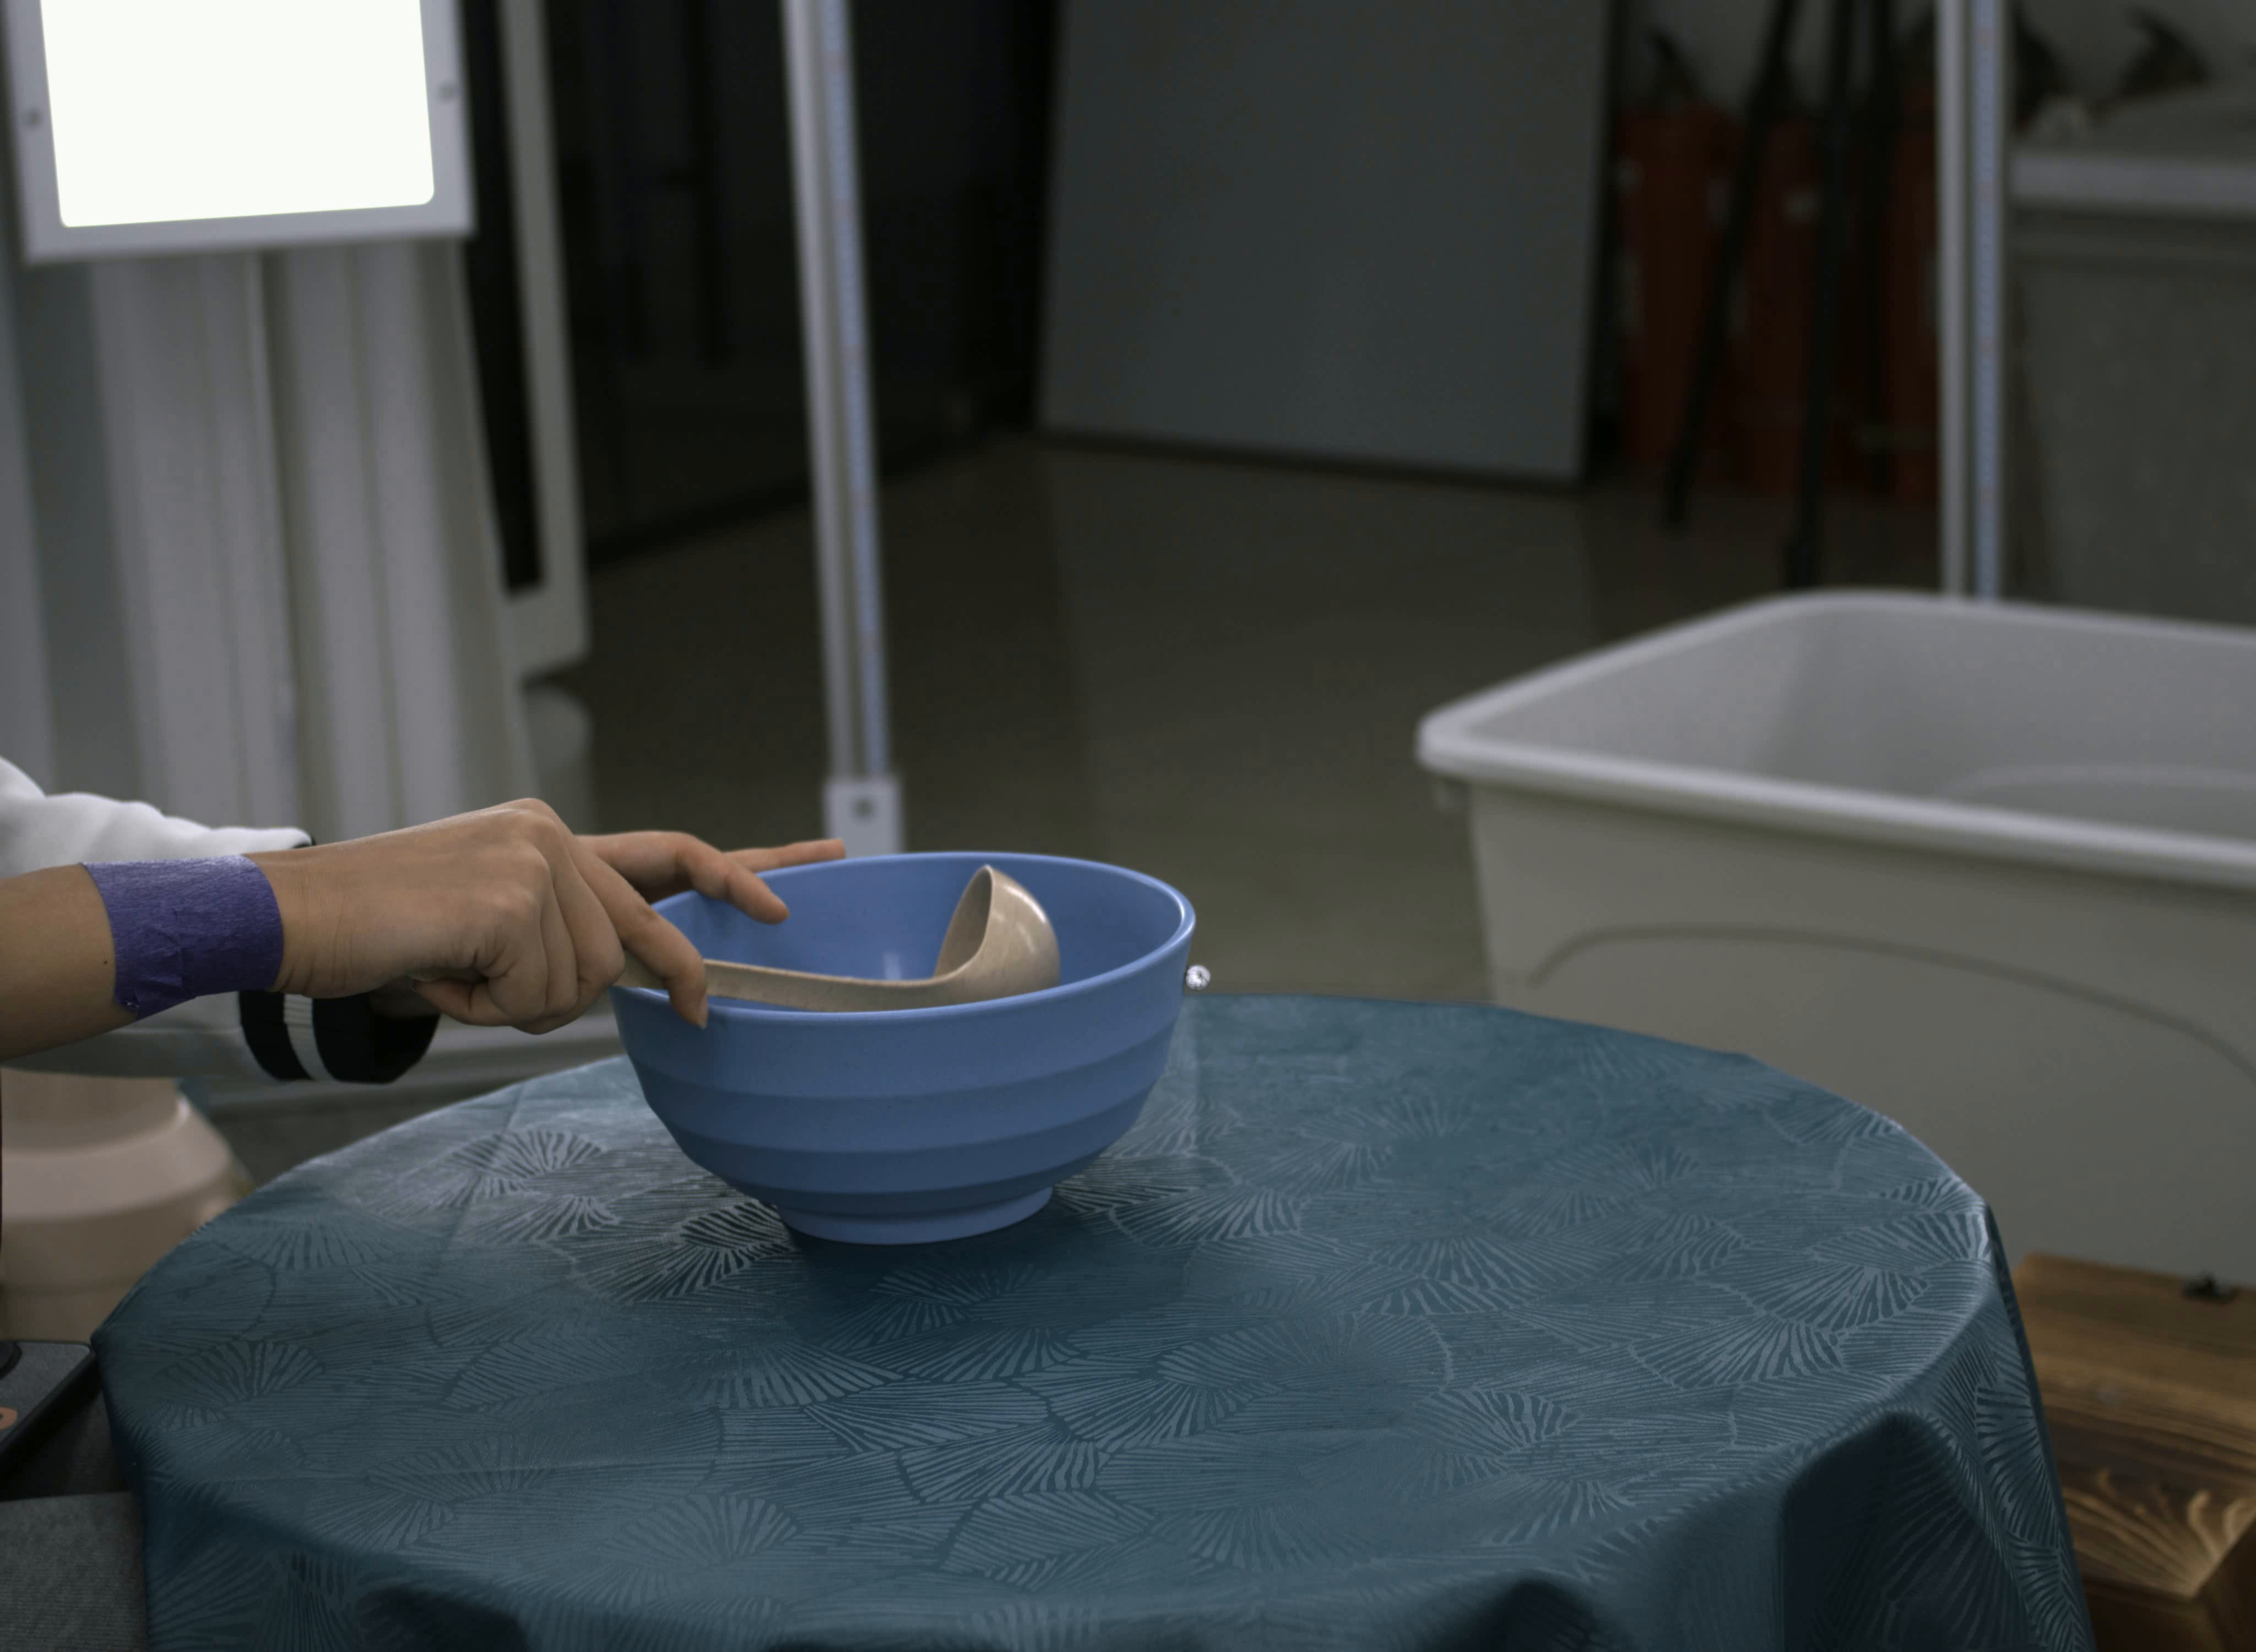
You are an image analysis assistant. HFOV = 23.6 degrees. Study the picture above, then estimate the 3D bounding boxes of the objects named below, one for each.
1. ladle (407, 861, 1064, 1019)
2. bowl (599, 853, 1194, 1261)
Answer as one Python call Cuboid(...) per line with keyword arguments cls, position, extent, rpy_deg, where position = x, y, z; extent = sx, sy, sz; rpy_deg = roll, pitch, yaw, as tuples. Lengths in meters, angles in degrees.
Cuboid(cls="ladle", position=(-0.130, 0.030, 1.704), extent=(0.248, 0.073, 0.074), rpy_deg=(12, 25, -36))
Cuboid(cls="bowl", position=(-0.072, 0.082, 1.765), extent=(0.194, 0.096, 0.197), rpy_deg=(-4, 15, 0))
